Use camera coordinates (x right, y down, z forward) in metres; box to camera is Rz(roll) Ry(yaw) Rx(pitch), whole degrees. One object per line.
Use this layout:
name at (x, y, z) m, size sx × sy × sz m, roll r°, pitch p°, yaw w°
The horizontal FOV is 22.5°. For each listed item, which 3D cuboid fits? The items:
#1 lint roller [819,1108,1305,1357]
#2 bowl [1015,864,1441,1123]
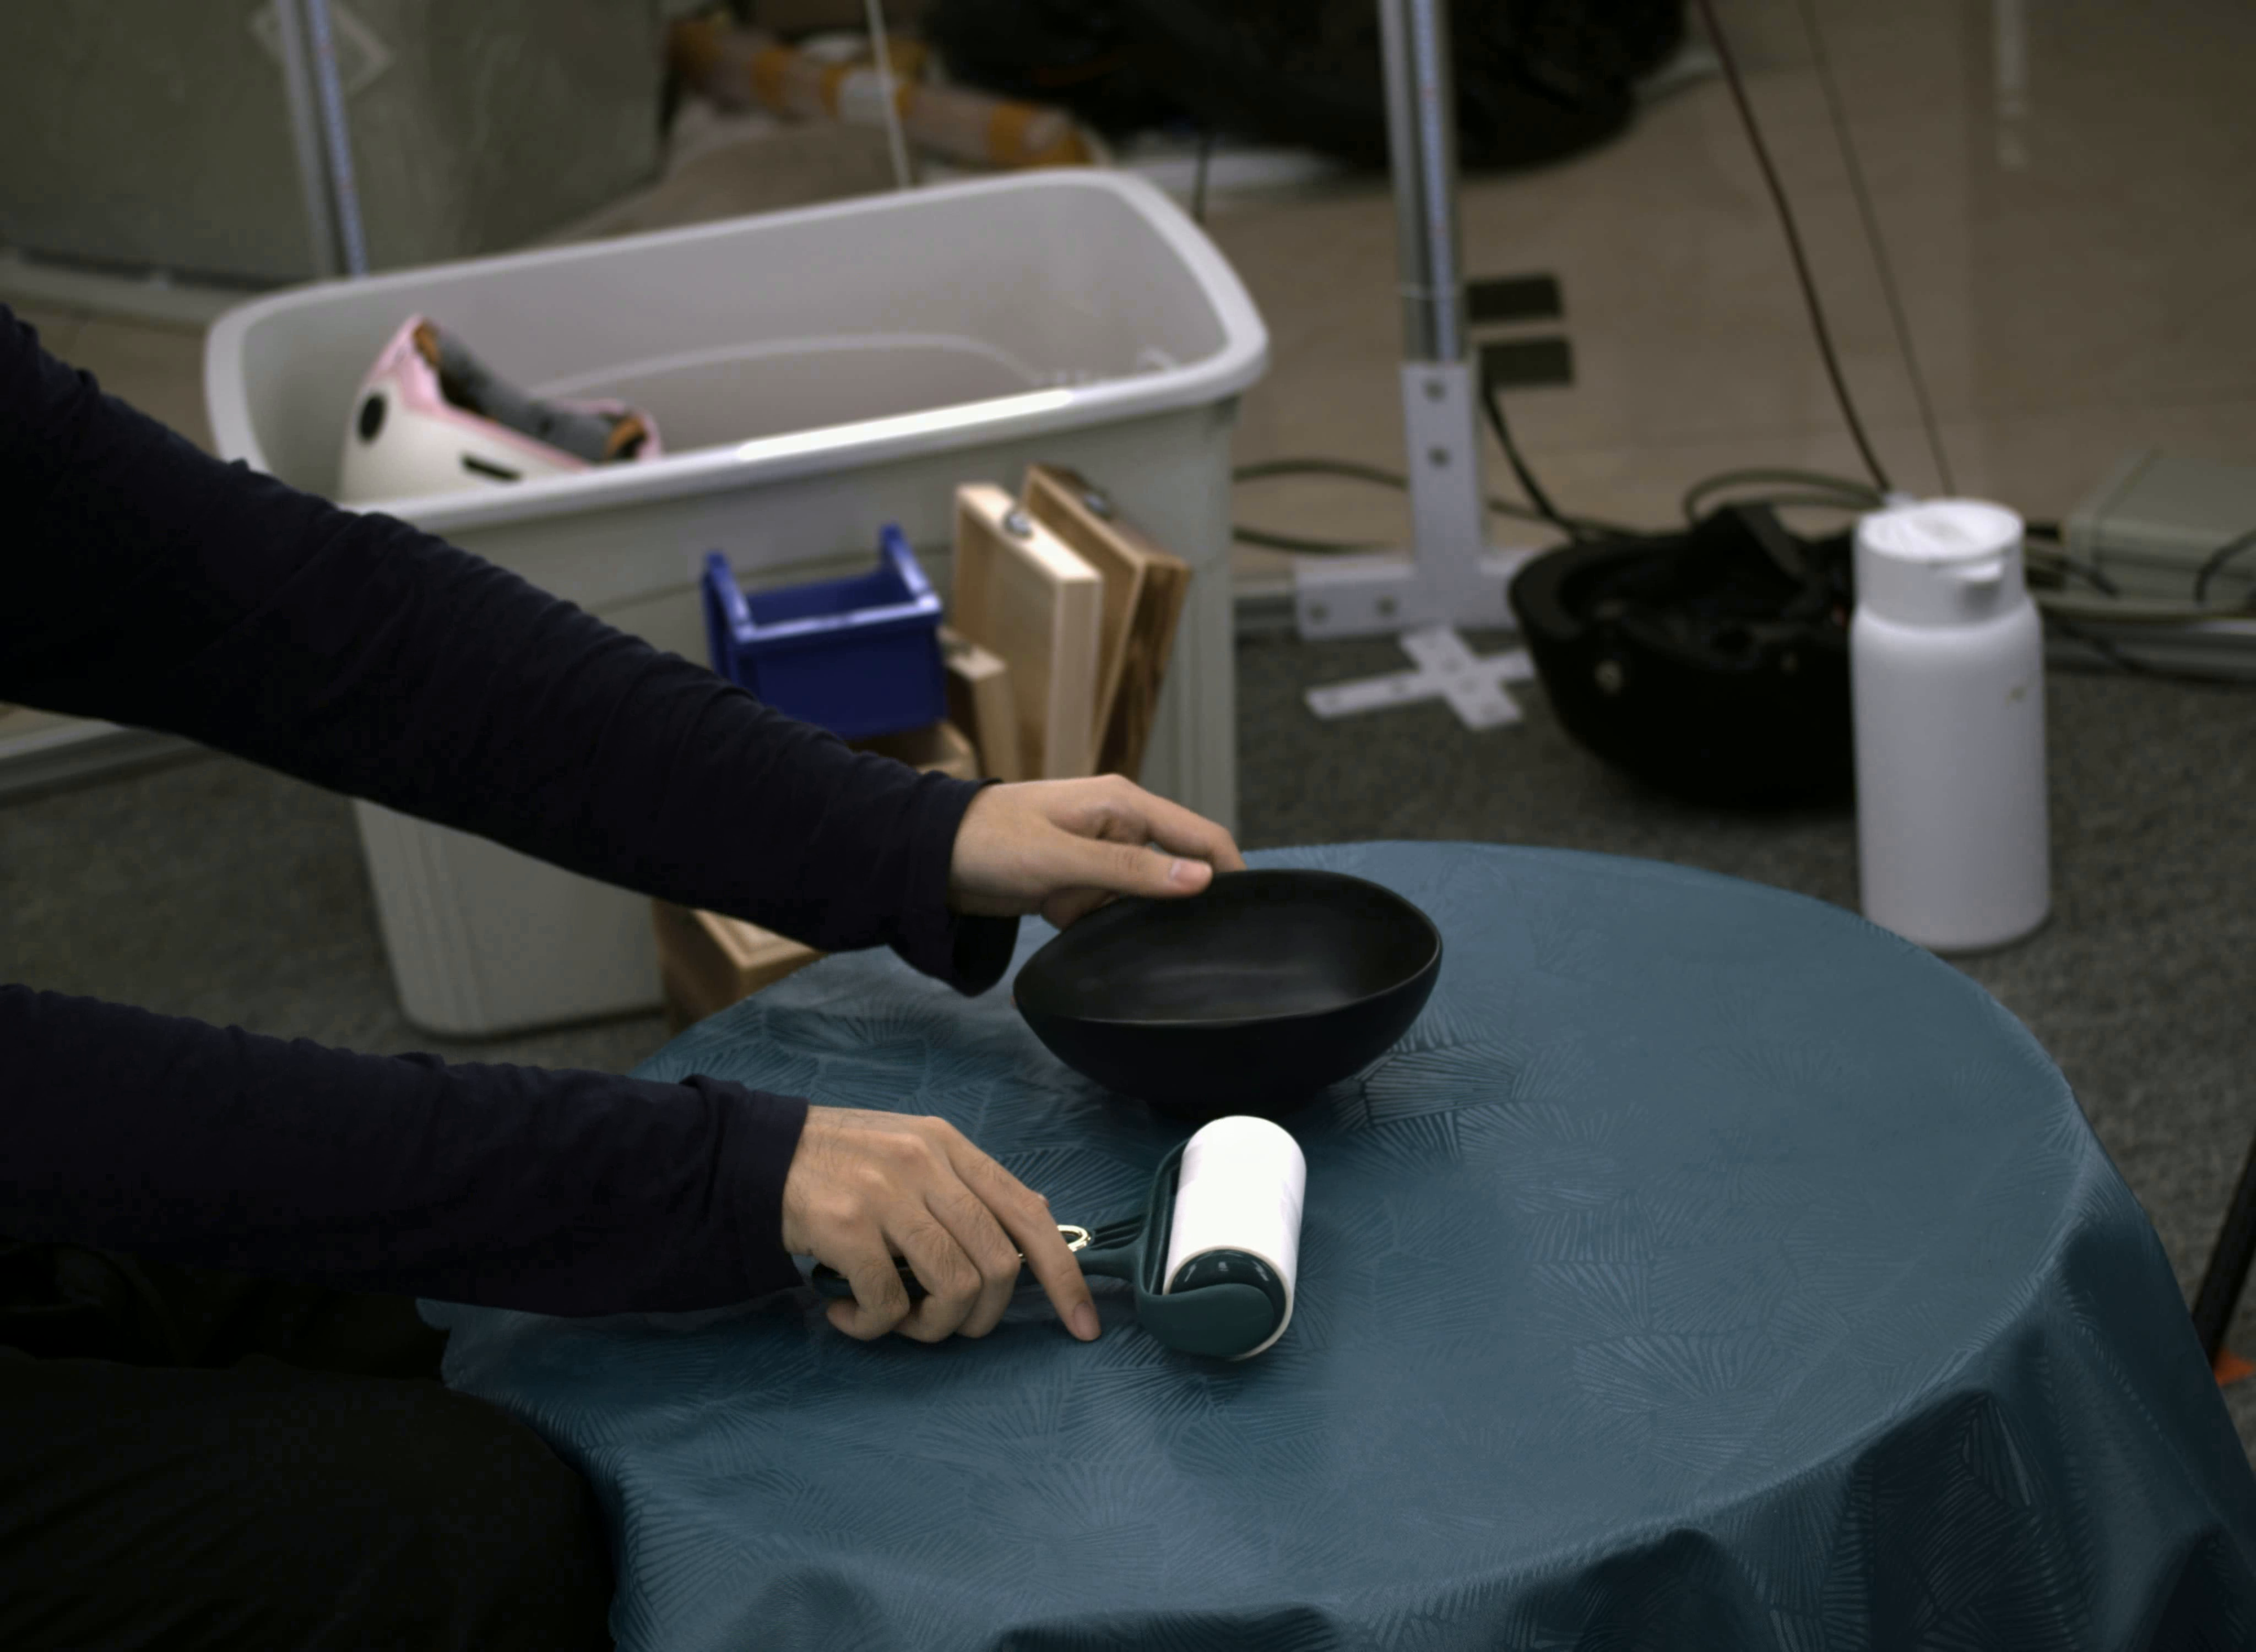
lint roller at (-0.027, 0.153, 2.072) m, size 0.180 × 0.049 × 0.132 m, roll -4°, pitch 25°, yaw 7°
bowl at (0.040, 0.073, 2.205) m, size 0.170 × 0.068 × 0.135 m, roll -3°, pitch 25°, yaw 12°
